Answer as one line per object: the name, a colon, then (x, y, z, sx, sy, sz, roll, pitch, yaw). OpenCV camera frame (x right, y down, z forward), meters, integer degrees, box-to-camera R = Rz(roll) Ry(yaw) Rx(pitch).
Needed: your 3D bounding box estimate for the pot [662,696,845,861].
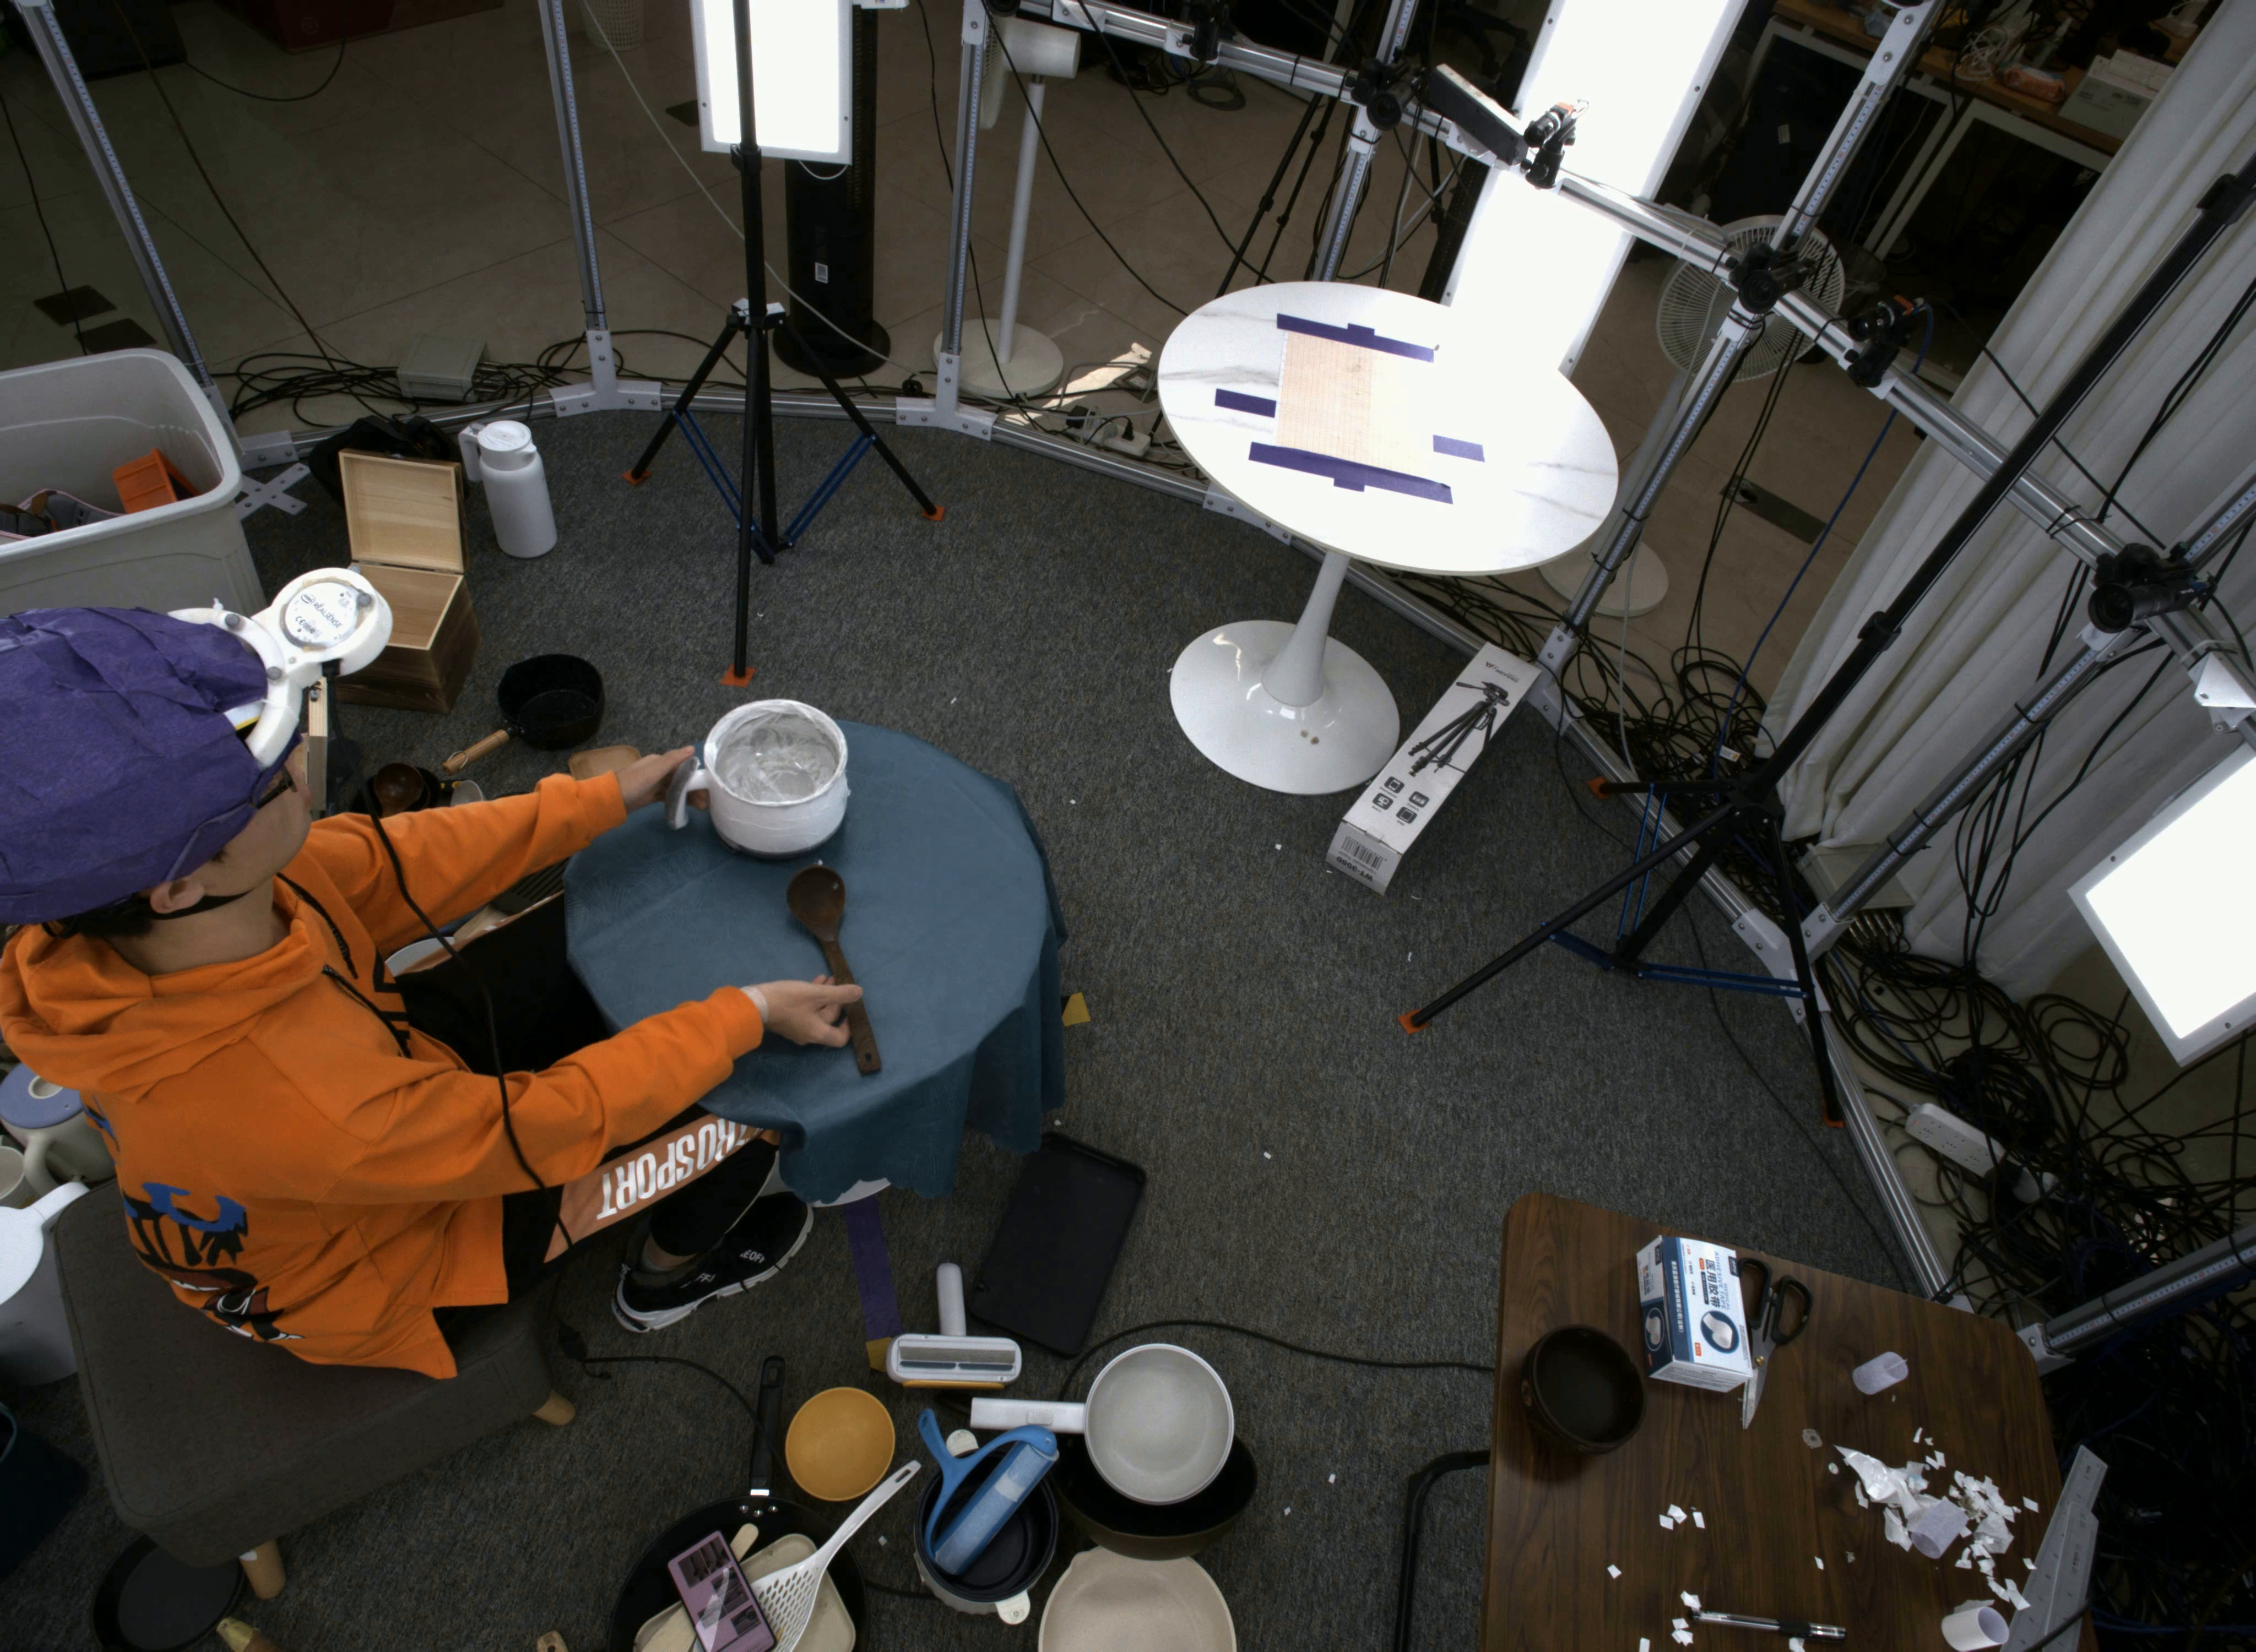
pot: (-0.478, -0.052, 1.650, 0.235, 0.139, 0.174, -11, 56, -22)

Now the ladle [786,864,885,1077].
ladle: (-0.346, 0.166, 1.565, 0.076, 0.073, 0.267, -15, 58, -20)
